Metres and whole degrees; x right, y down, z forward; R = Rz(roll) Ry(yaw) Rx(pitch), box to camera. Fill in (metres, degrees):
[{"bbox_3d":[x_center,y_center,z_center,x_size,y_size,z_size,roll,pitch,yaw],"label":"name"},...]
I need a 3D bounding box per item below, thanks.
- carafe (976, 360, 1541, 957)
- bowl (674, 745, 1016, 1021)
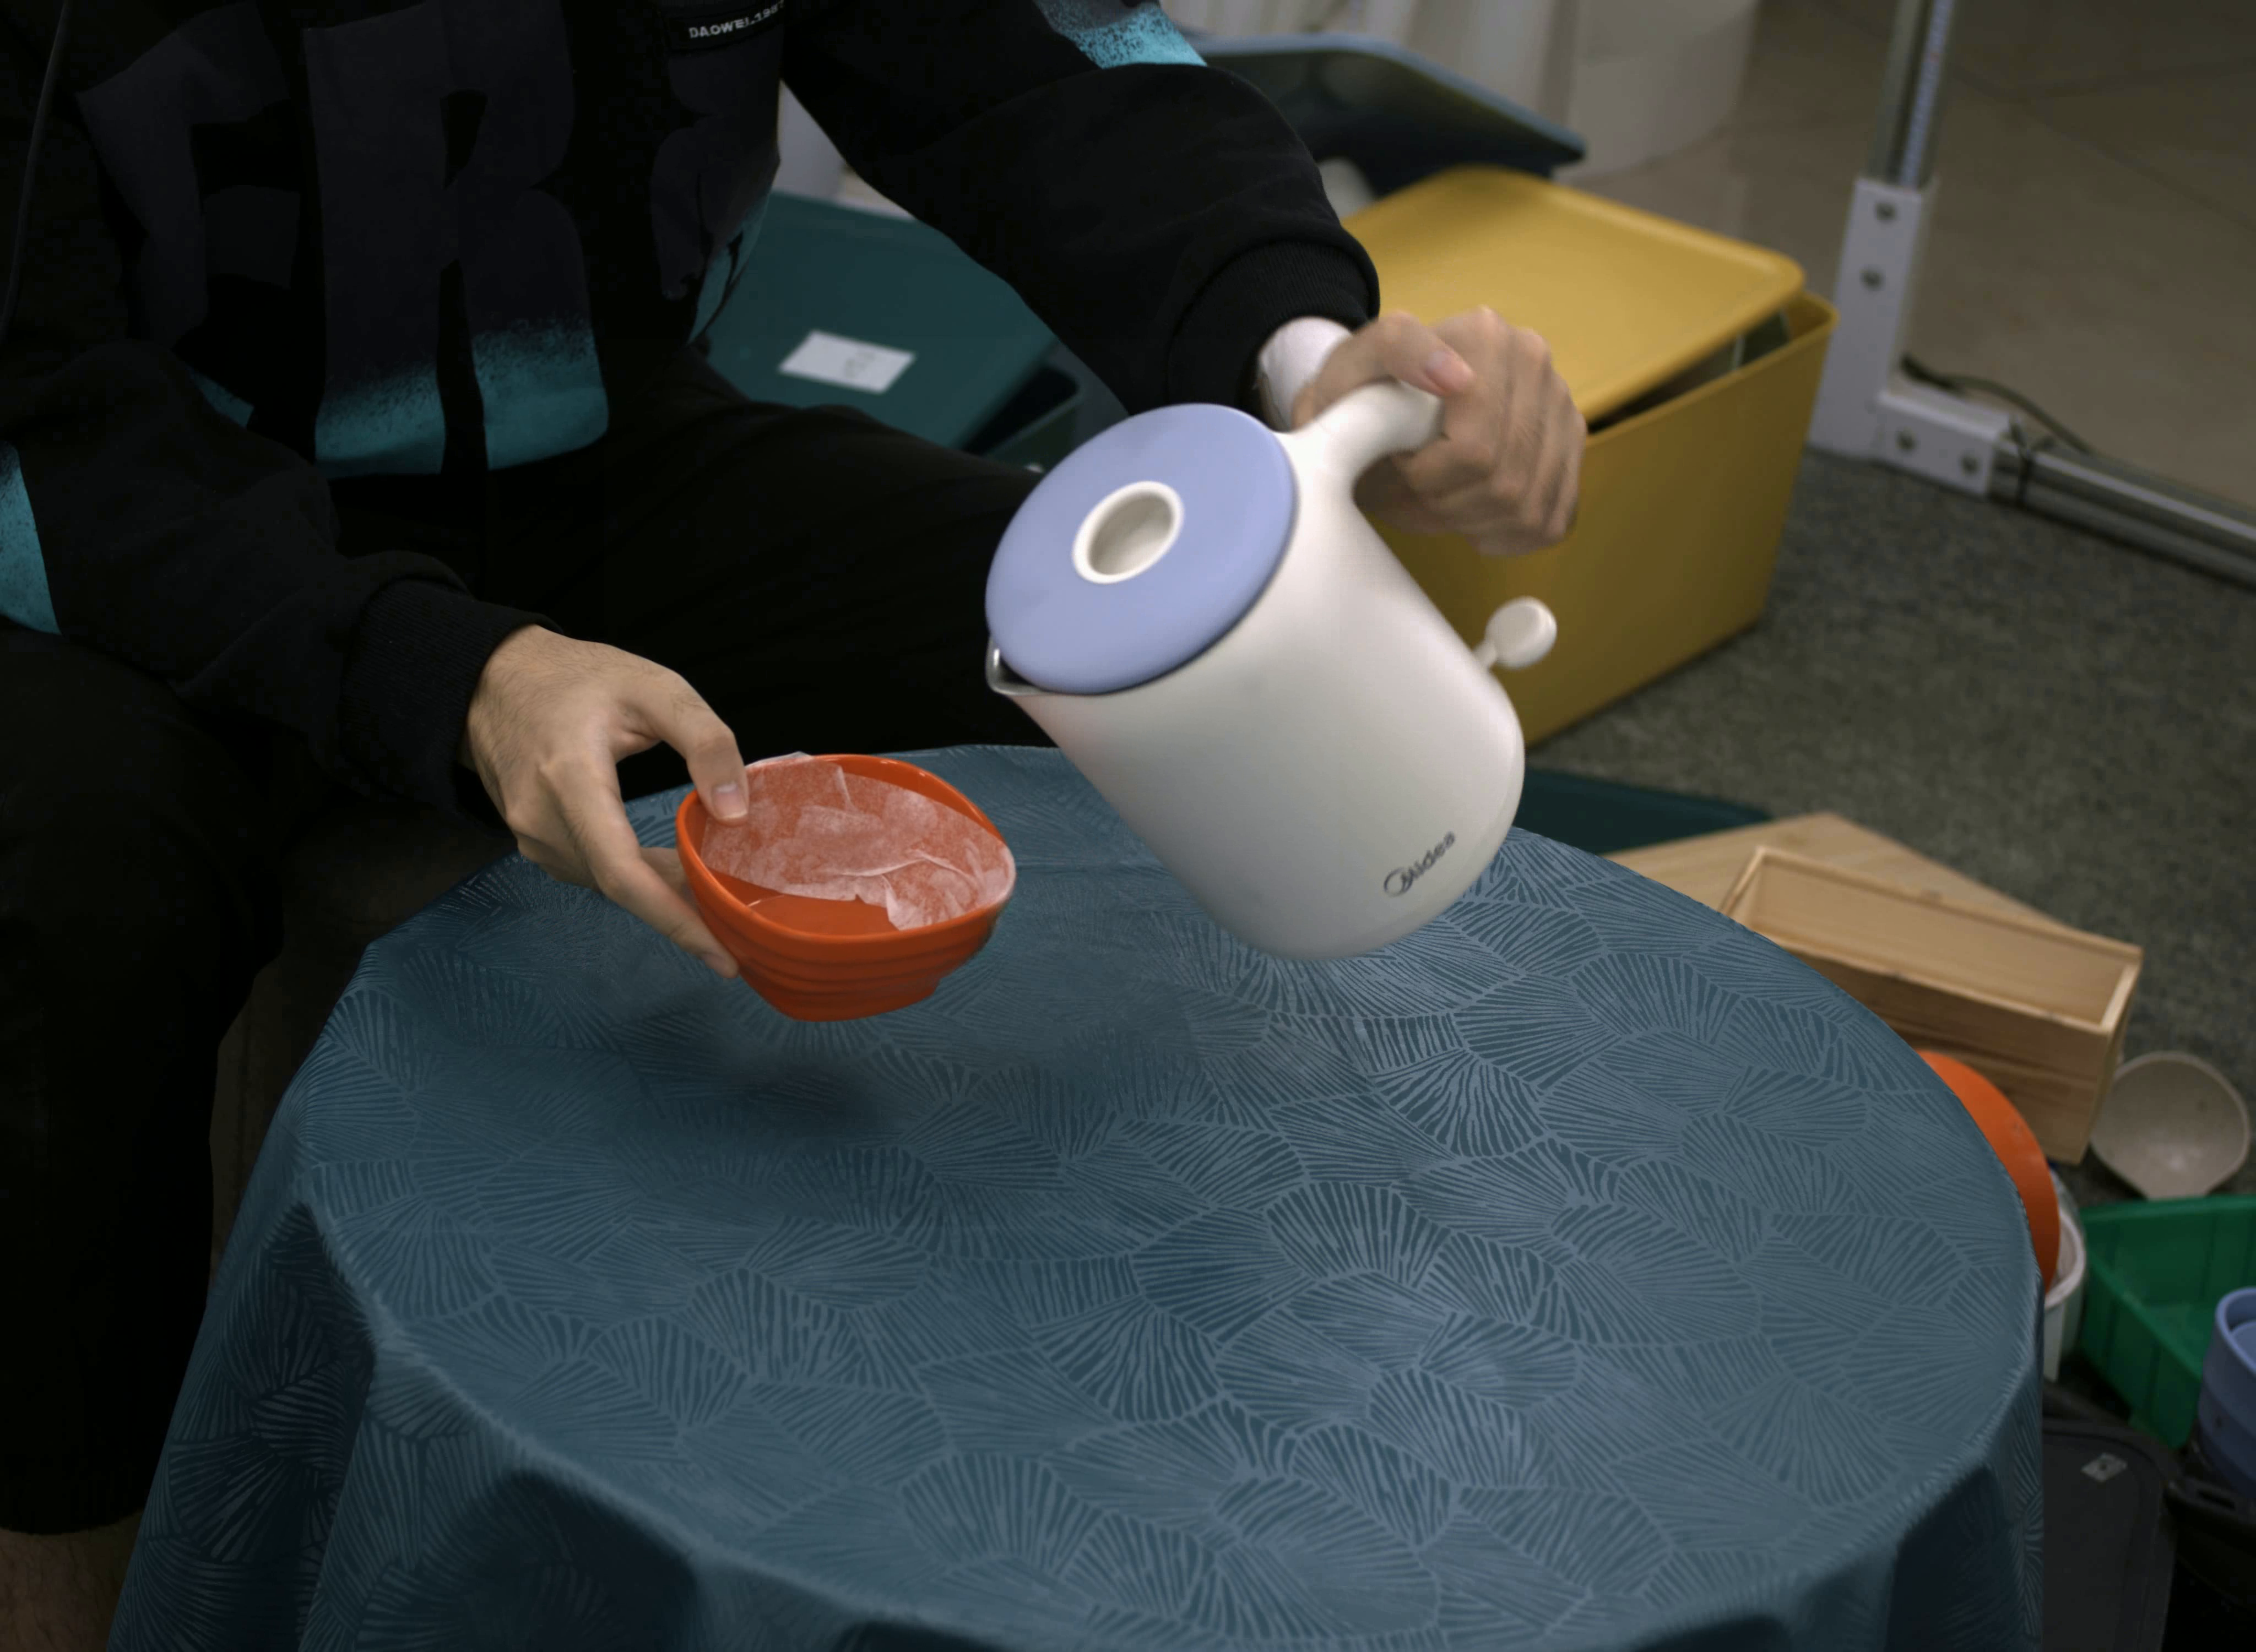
[{"bbox_3d":[0.059,-0.068,1.832,0.191,0.181,0.133,-42,42,-2],"label":"carafe"},{"bbox_3d":[-0.099,0.024,1.815,0.118,0.051,0.120,5,35,-4],"label":"bowl"}]
